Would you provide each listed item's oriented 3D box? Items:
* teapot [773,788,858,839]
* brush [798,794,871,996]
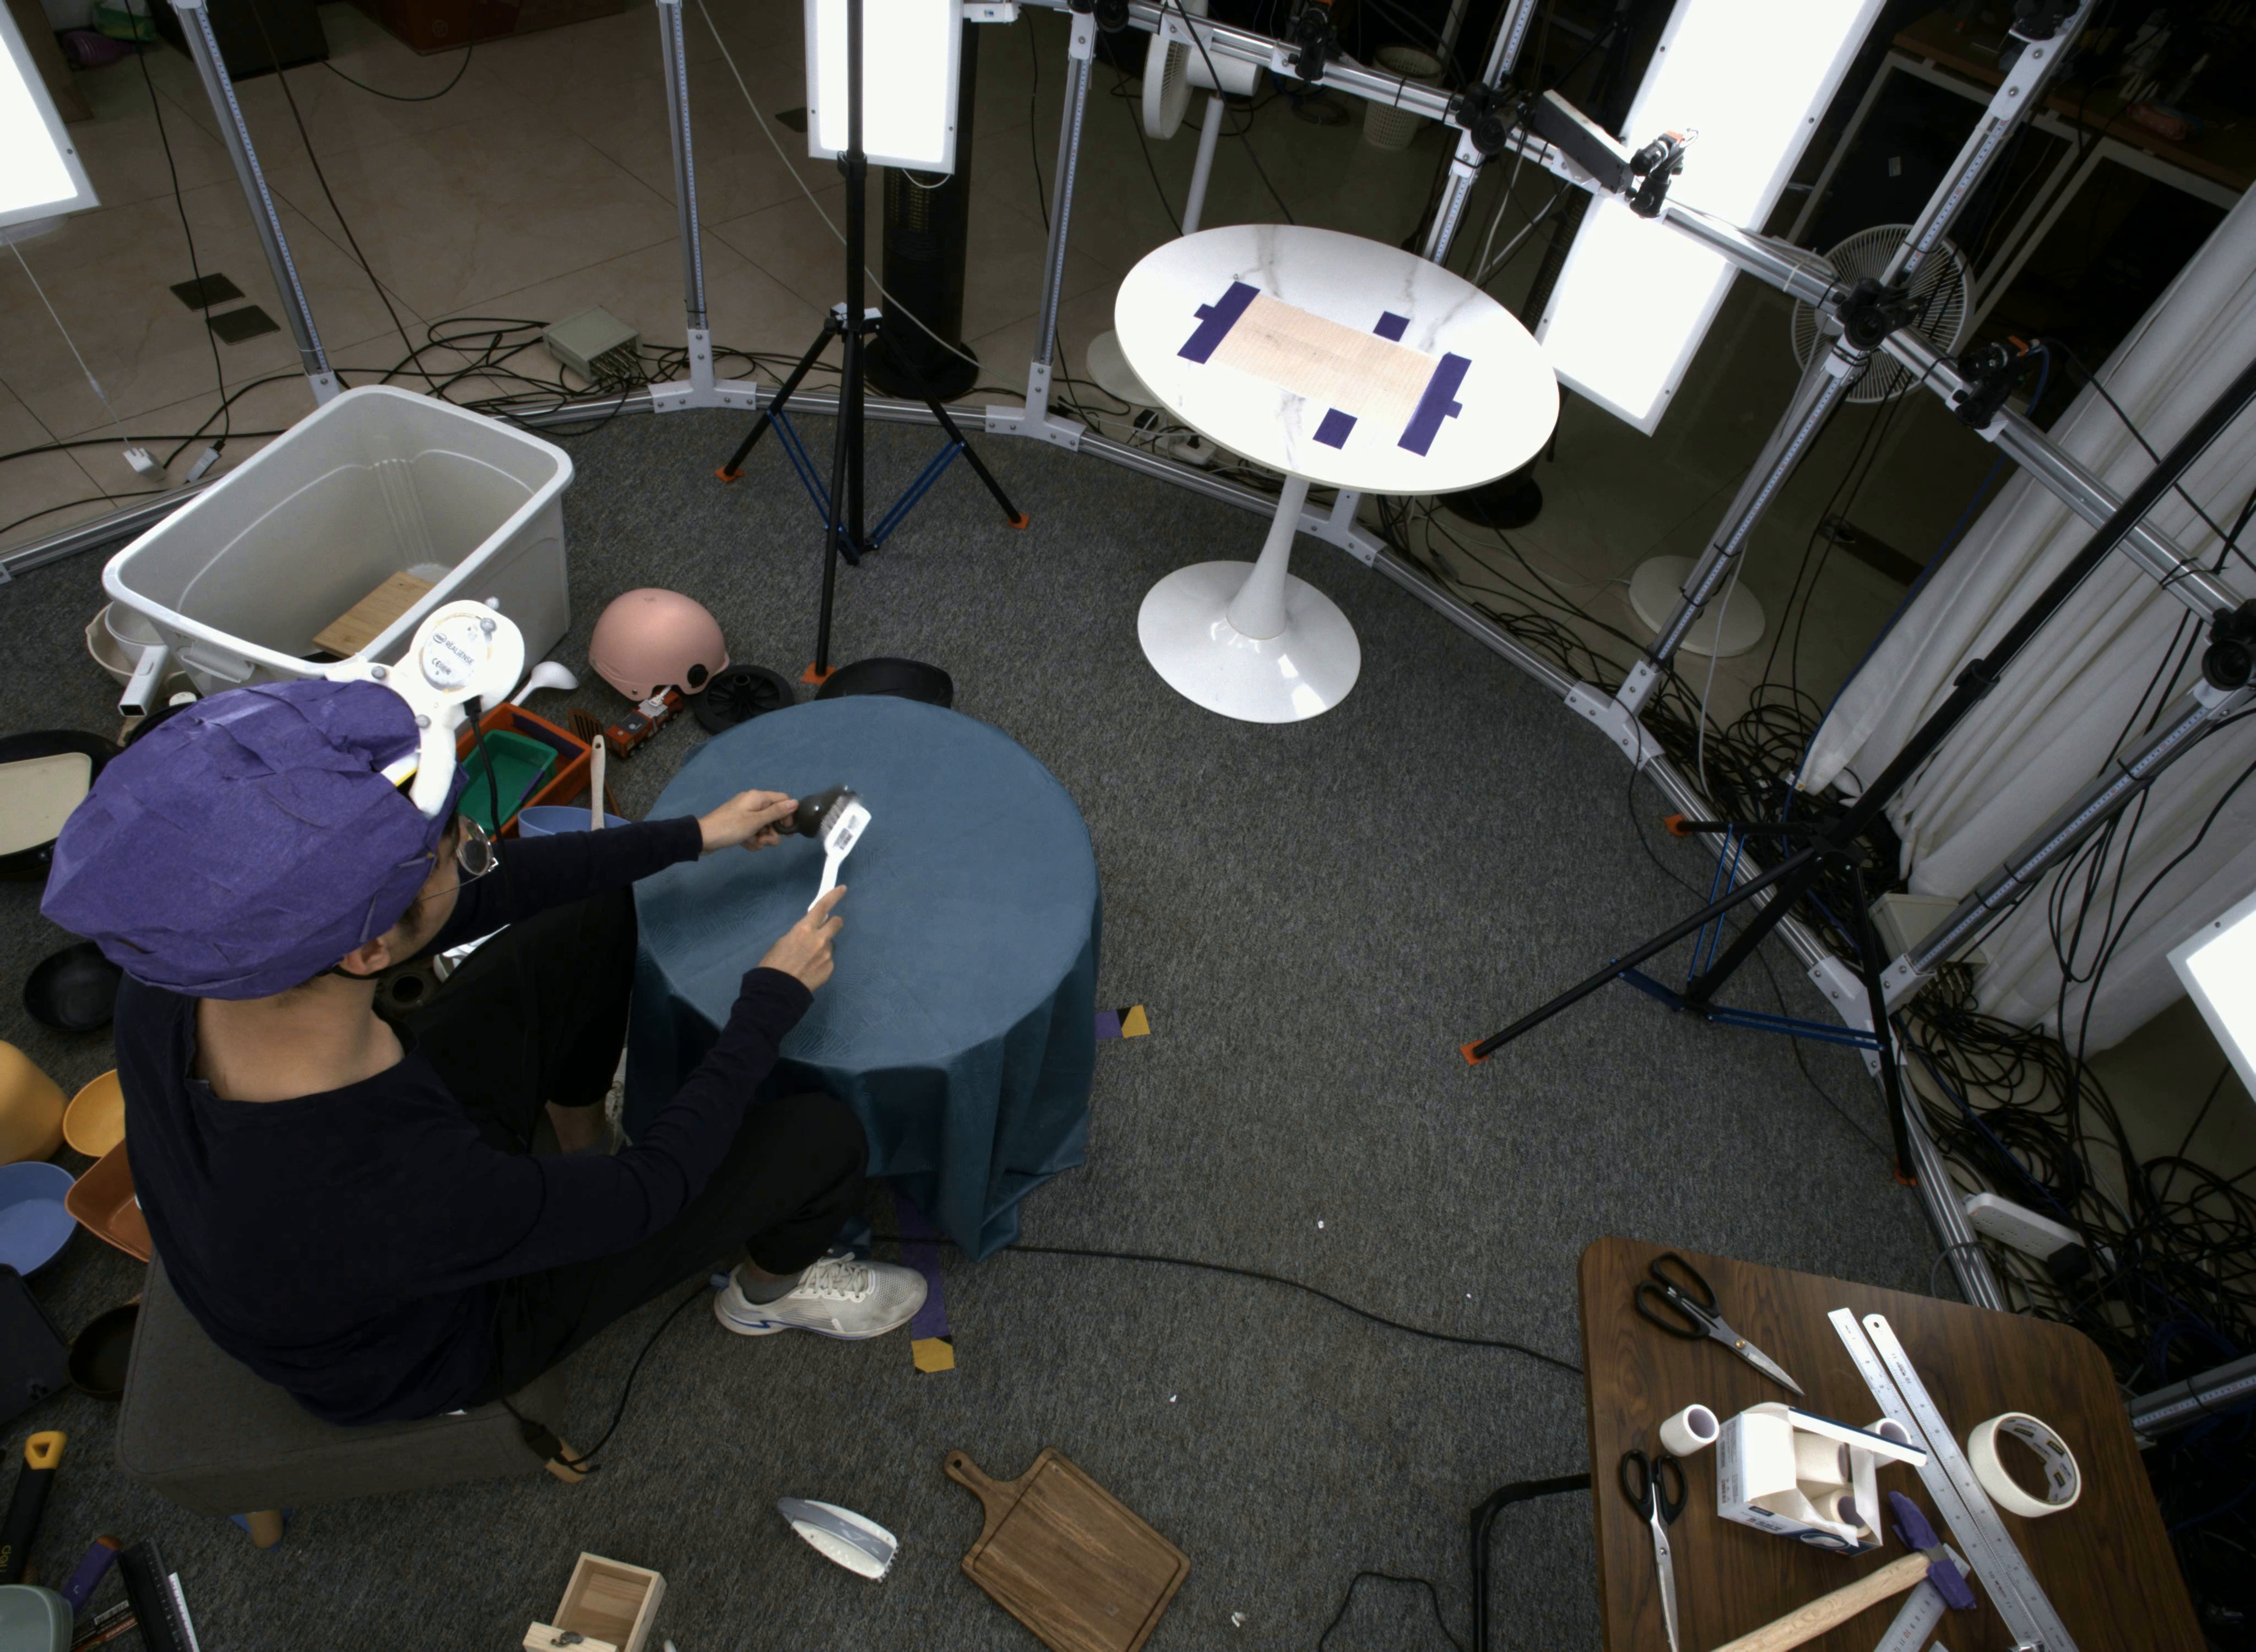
[{"bbox_3d":[-0.395,-0.015,1.646,0.115,0.081,0.053,-11,86,-28],"label":"teapot"},{"bbox_3d":[-0.365,0.079,1.551,0.048,0.035,0.244,7,75,31],"label":"brush"}]
